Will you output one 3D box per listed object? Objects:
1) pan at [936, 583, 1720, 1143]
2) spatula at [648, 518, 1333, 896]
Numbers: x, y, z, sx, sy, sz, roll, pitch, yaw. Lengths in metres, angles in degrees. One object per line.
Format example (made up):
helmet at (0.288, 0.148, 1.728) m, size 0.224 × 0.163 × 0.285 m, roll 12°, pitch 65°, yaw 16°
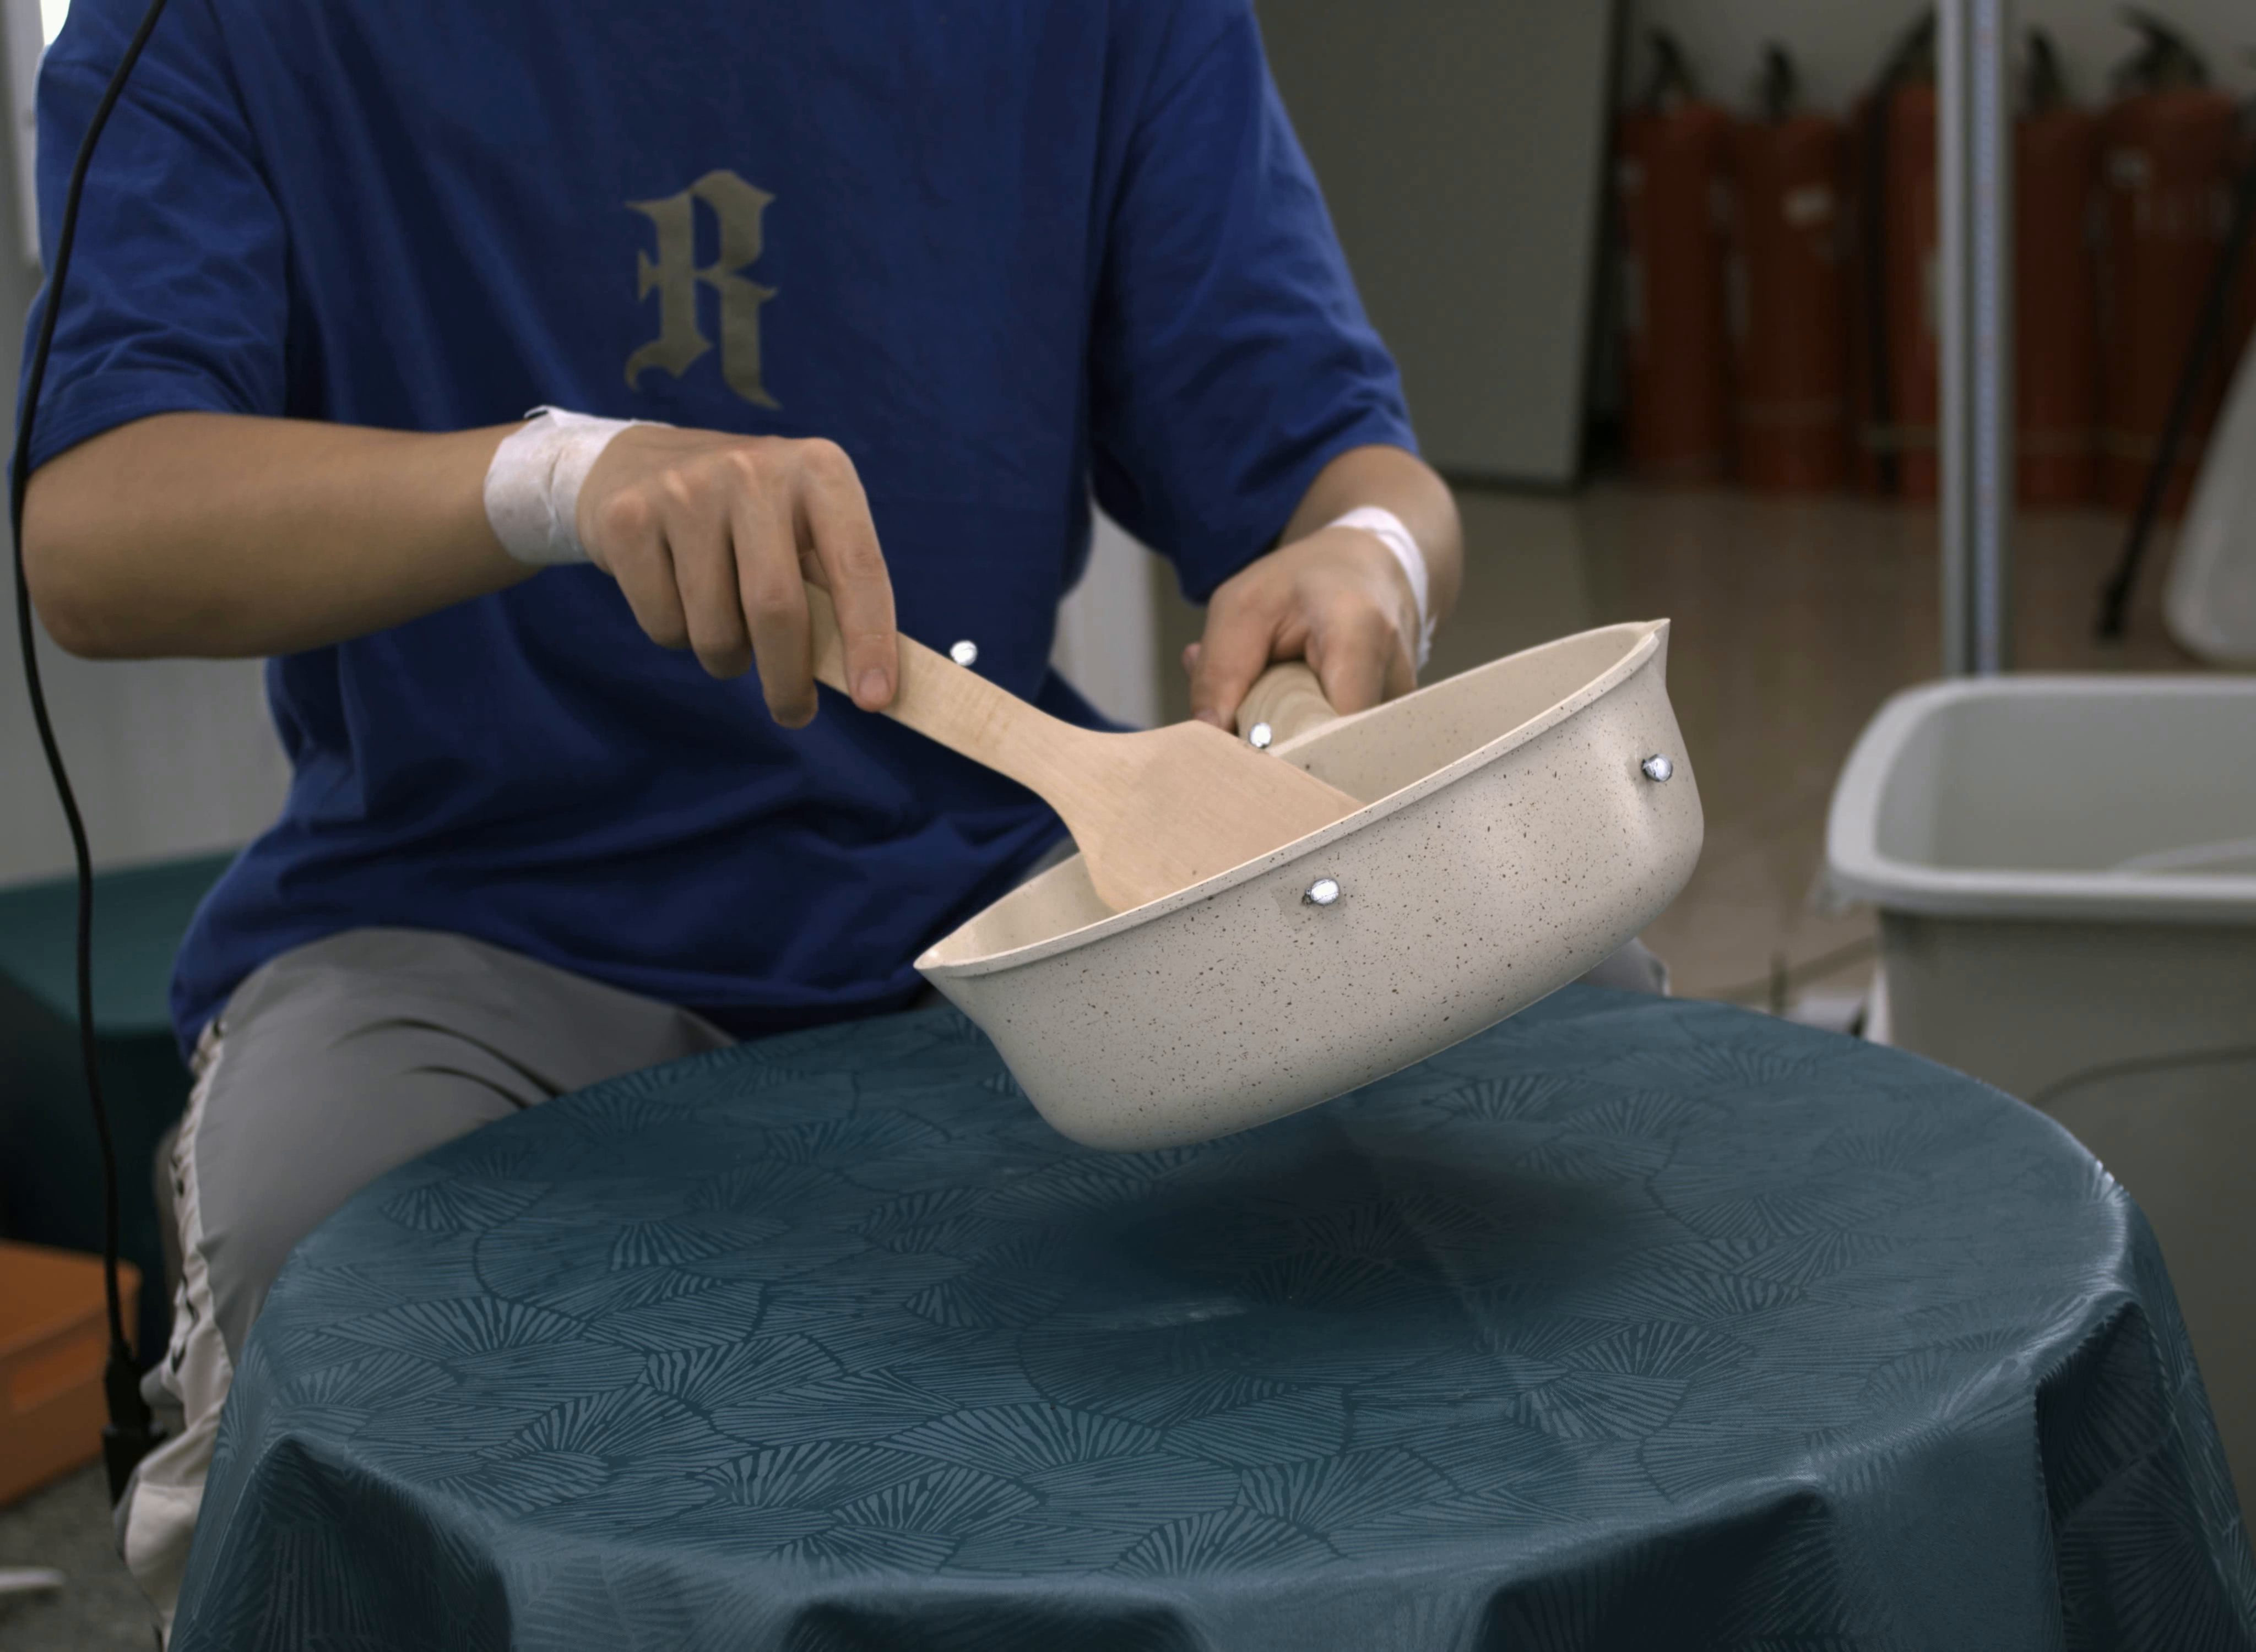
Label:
pan at (0.070, 0.003, 1.785) m, size 0.262 × 0.102 × 0.435 m, roll -27°, pitch 5°, yaw 3°
spatula at (-0.045, -0.034, 1.760) m, size 0.295 × 0.073 × 0.010 m, roll 28°, pitch -1°, yaw 29°
